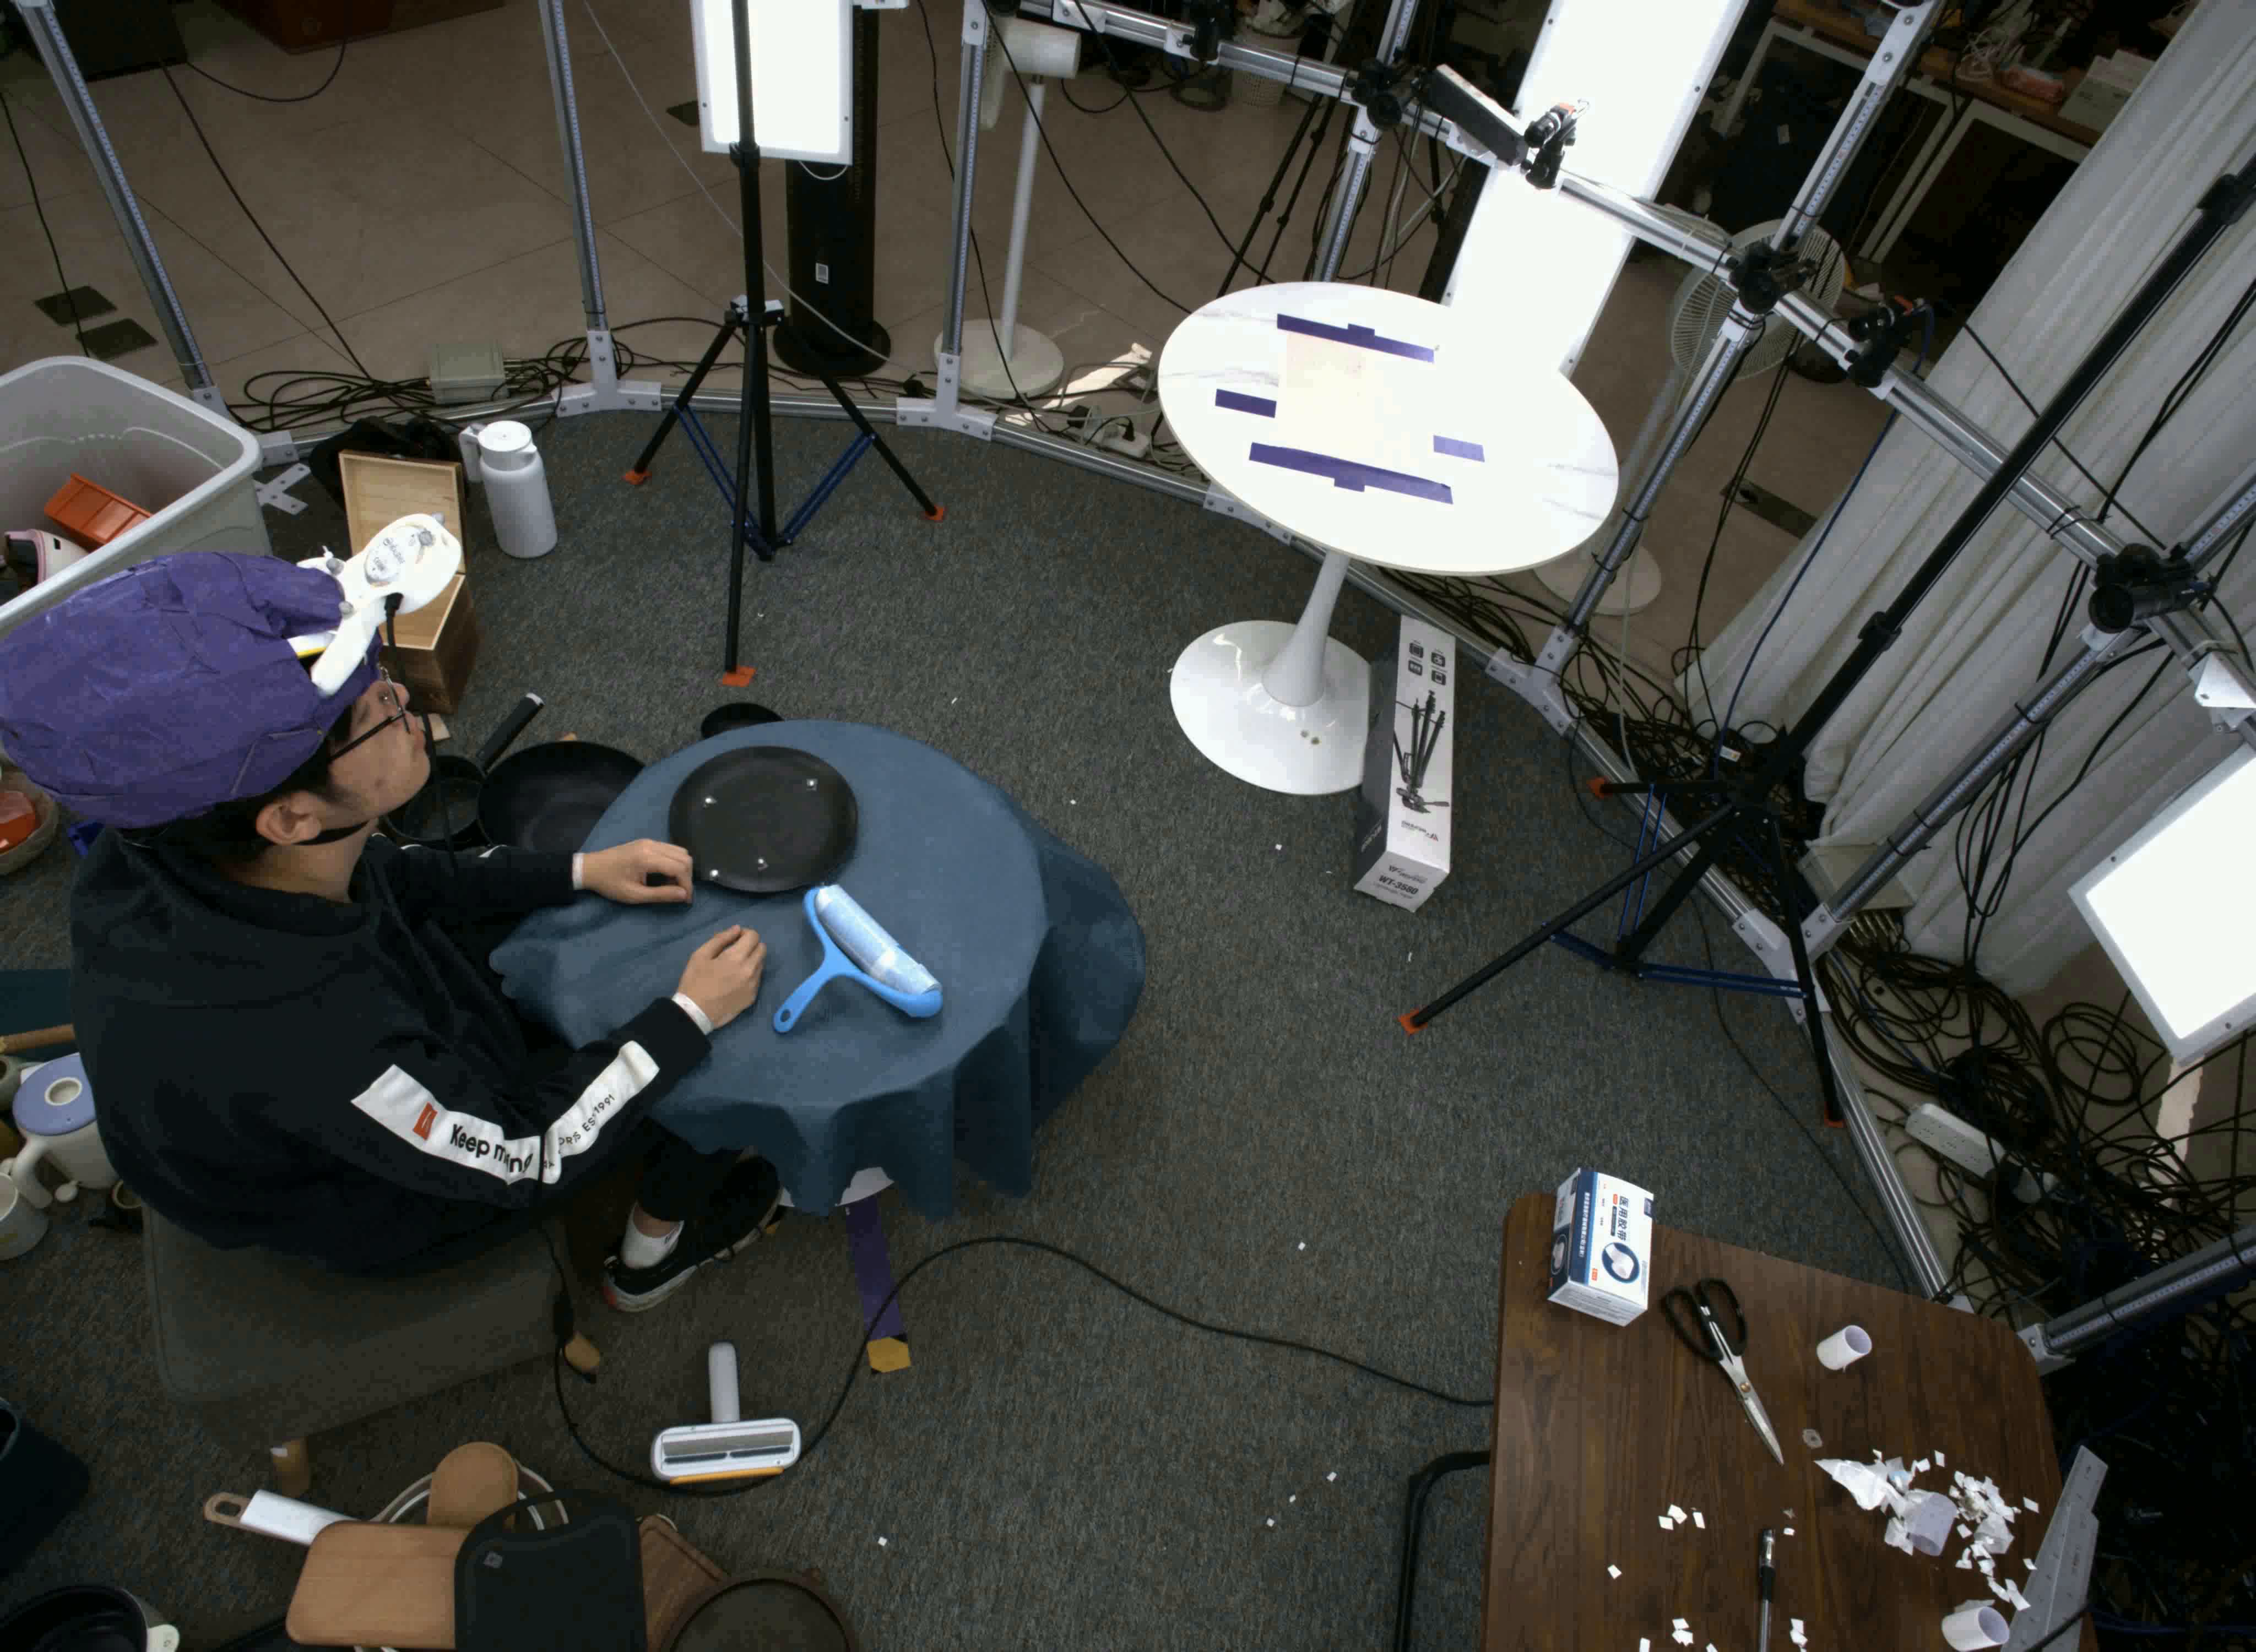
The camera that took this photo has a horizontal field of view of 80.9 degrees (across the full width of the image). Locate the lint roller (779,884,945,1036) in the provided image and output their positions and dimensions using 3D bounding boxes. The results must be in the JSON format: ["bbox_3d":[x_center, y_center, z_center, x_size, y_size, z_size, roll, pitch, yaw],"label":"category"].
[{"bbox_3d":[-0.350,0.181,1.580,0.224,0.069,0.180,38,55,14],"label":"lint roller"}]

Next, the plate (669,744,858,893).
[{"bbox_3d":[-0.480,-0.009,1.707,0.244,0.024,0.240,8,53,-9],"label":"plate"}]
